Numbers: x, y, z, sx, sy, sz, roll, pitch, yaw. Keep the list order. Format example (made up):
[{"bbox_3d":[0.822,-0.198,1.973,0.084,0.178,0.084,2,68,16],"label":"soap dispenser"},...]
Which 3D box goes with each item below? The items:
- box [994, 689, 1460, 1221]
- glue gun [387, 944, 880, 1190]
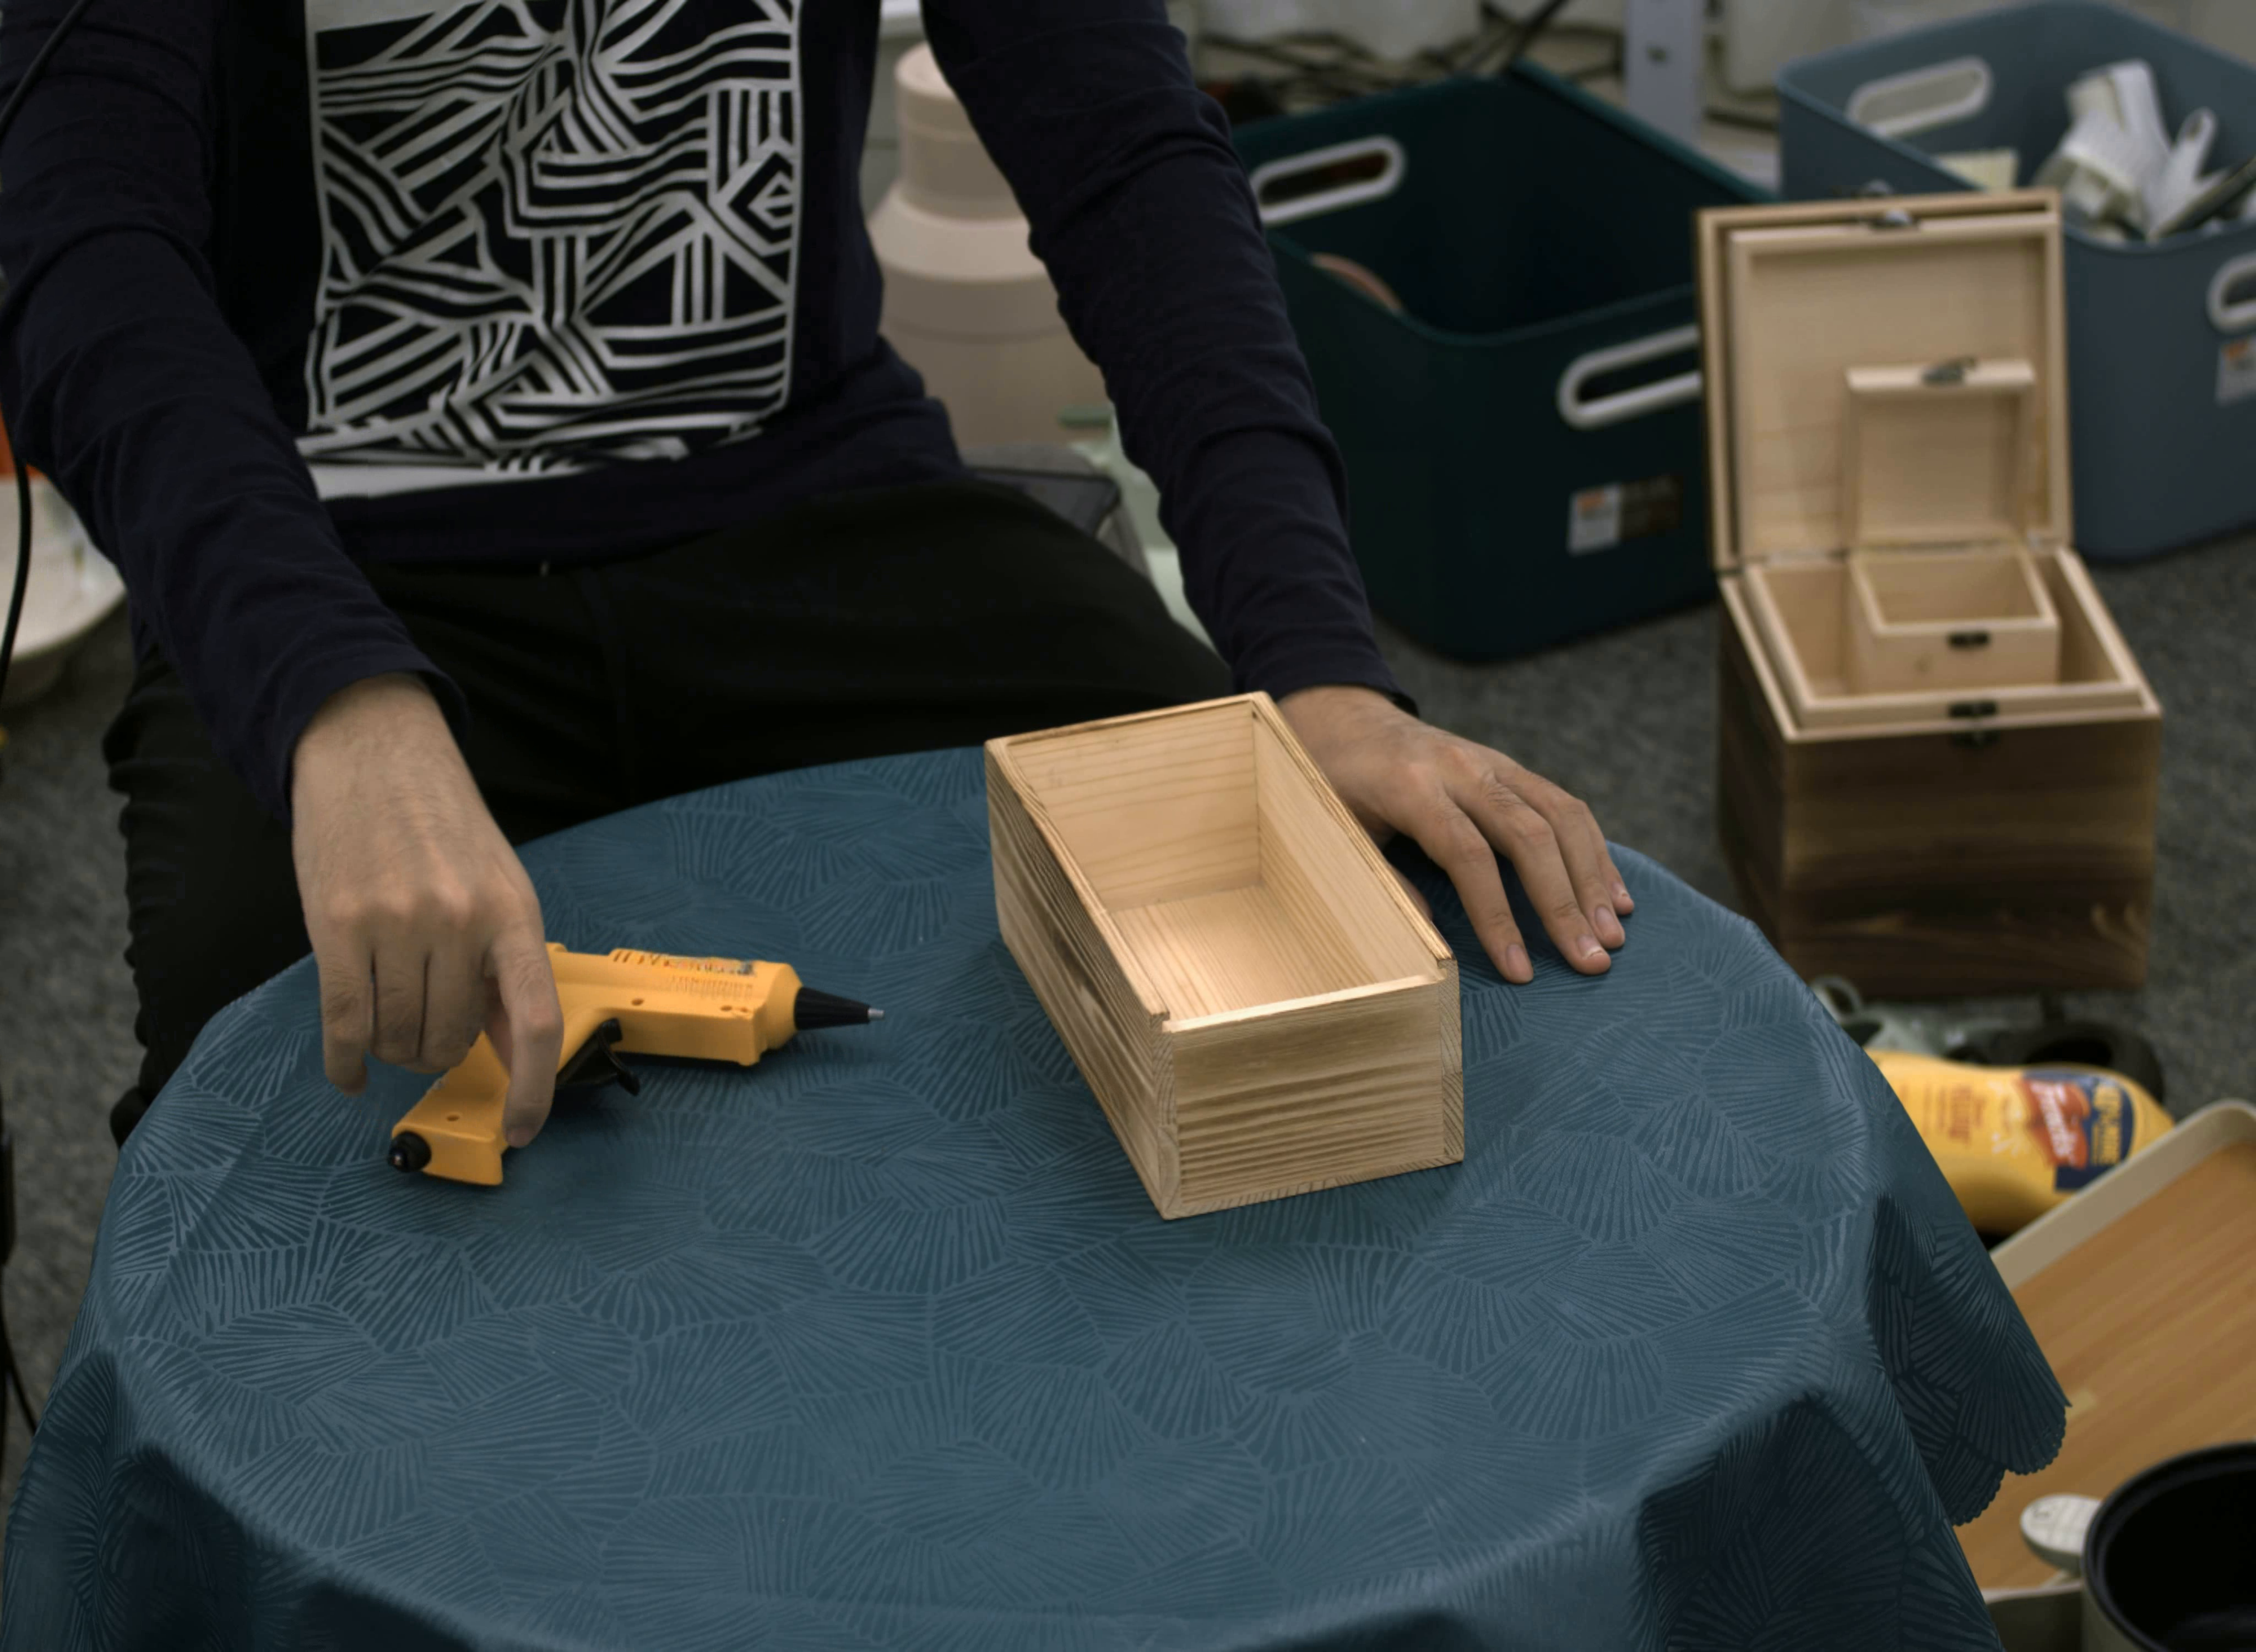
[{"bbox_3d":[0.031,0.040,1.934,0.107,0.079,0.213,-10,29,-13],"label":"box"},{"bbox_3d":[-0.166,0.084,1.929,0.150,0.031,0.135,1,29,9],"label":"glue gun"}]
